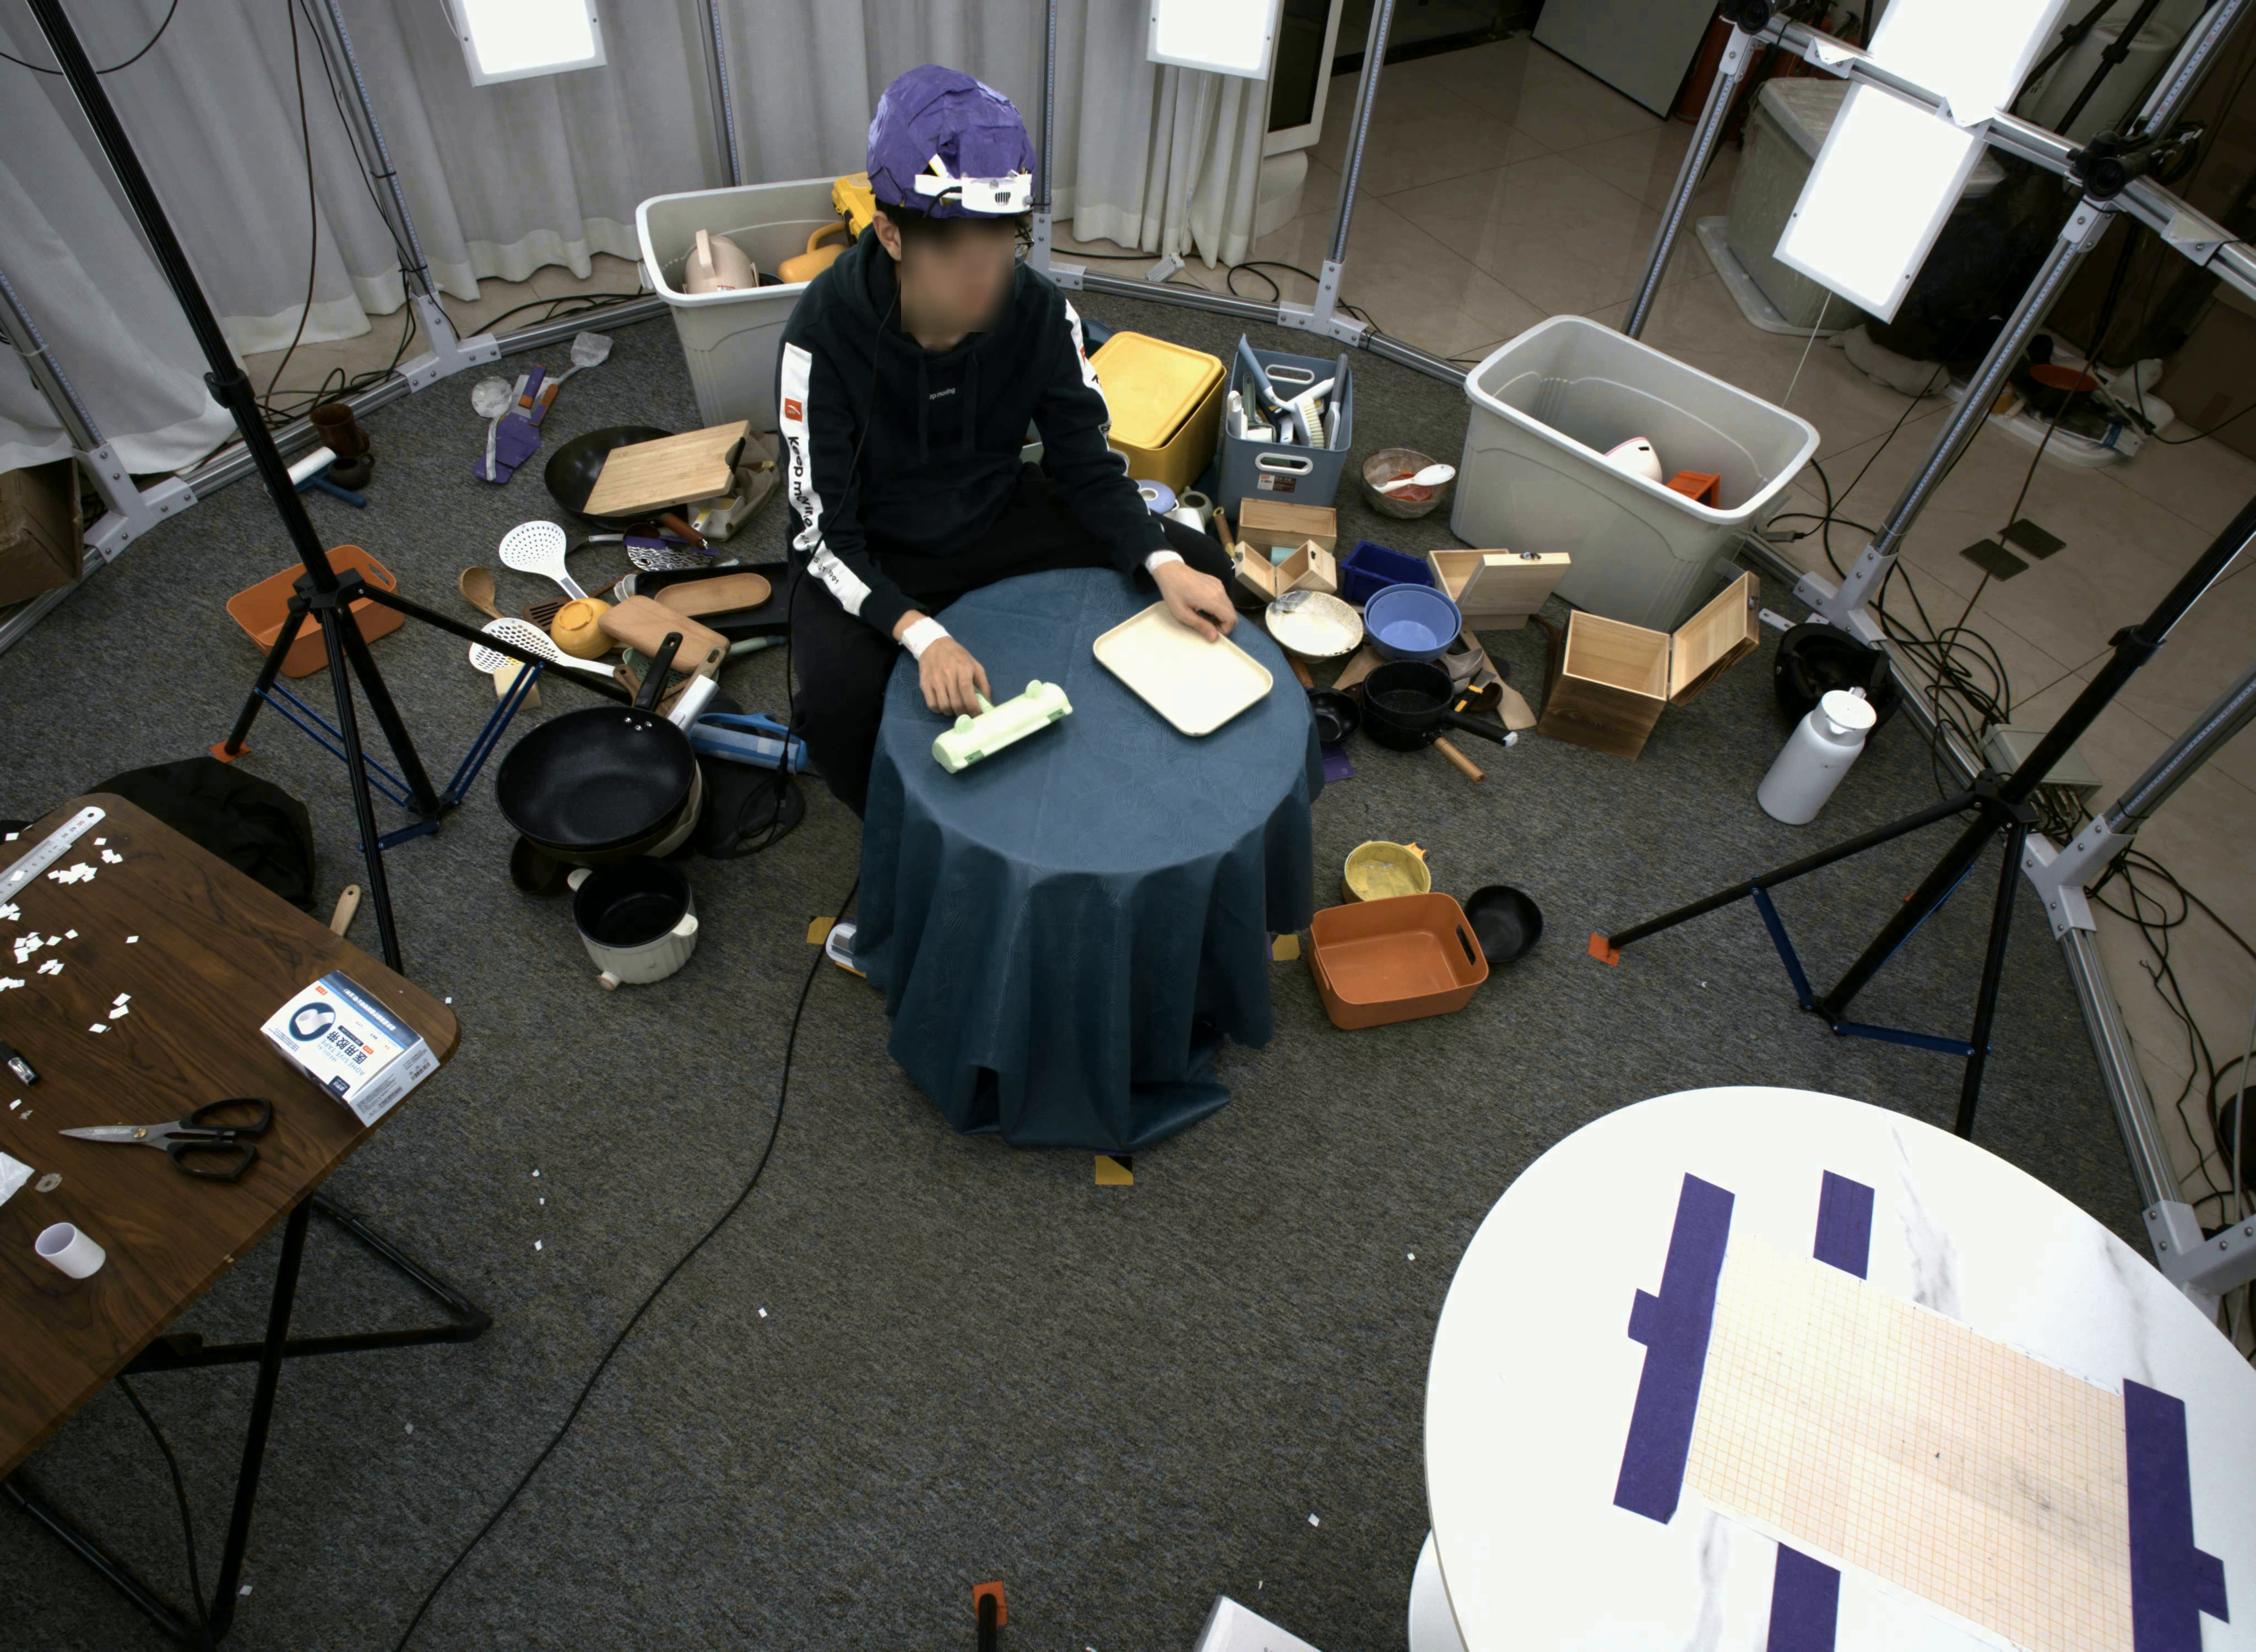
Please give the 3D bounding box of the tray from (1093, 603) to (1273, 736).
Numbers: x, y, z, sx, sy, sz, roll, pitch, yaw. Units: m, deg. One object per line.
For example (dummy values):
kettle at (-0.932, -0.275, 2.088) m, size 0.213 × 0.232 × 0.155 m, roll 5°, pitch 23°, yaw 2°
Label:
tray at (0.079, -0.228, 1.855) m, size 0.172 × 0.017 × 0.244 m, roll -33°, pitch 58°, yaw -26°

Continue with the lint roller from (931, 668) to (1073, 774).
lint roller at (-0.204, -0.175, 1.756) m, size 0.200 × 0.080 × 0.186 m, roll -29°, pitch 61°, yaw -26°
